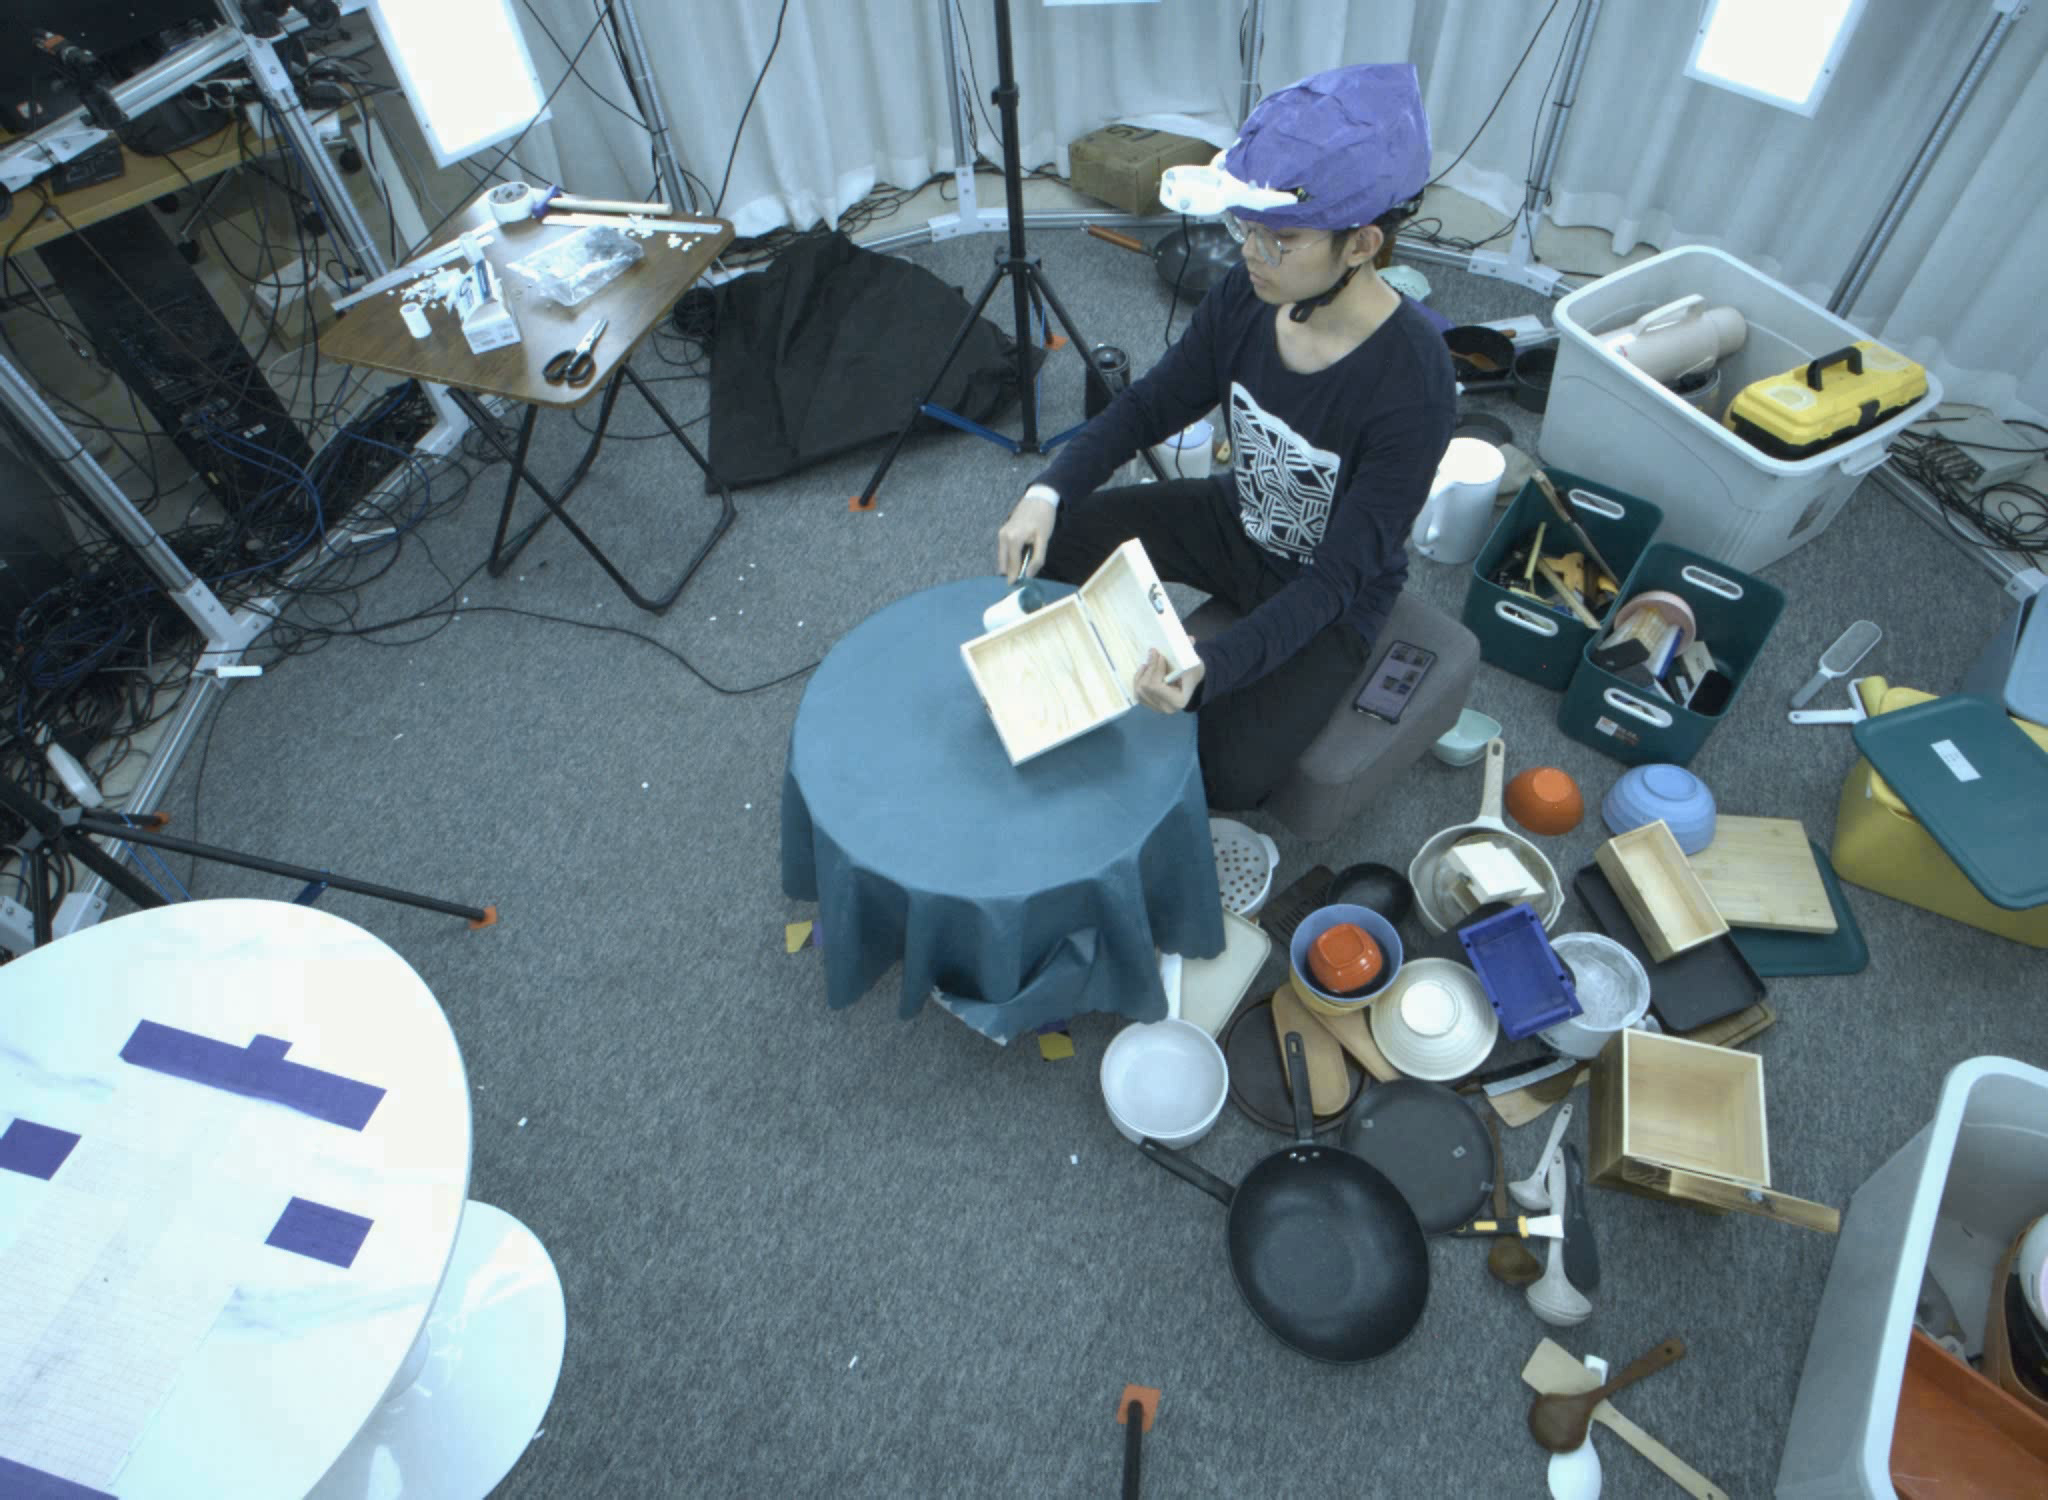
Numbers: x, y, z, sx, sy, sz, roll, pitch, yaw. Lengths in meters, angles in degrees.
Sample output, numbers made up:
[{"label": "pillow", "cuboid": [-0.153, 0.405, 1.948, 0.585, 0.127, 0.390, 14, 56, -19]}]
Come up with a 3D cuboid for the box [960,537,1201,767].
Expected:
[{"label": "box", "cuboid": [0.064, -0.123, 1.675, 0.266, 0.253, 0.181, -26, 85, -6]}]

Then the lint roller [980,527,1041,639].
[{"label": "lint roller", "cuboid": [-0.012, -0.262, 1.826, 0.049, 0.132, 0.179, 18, 68, -25]}]
